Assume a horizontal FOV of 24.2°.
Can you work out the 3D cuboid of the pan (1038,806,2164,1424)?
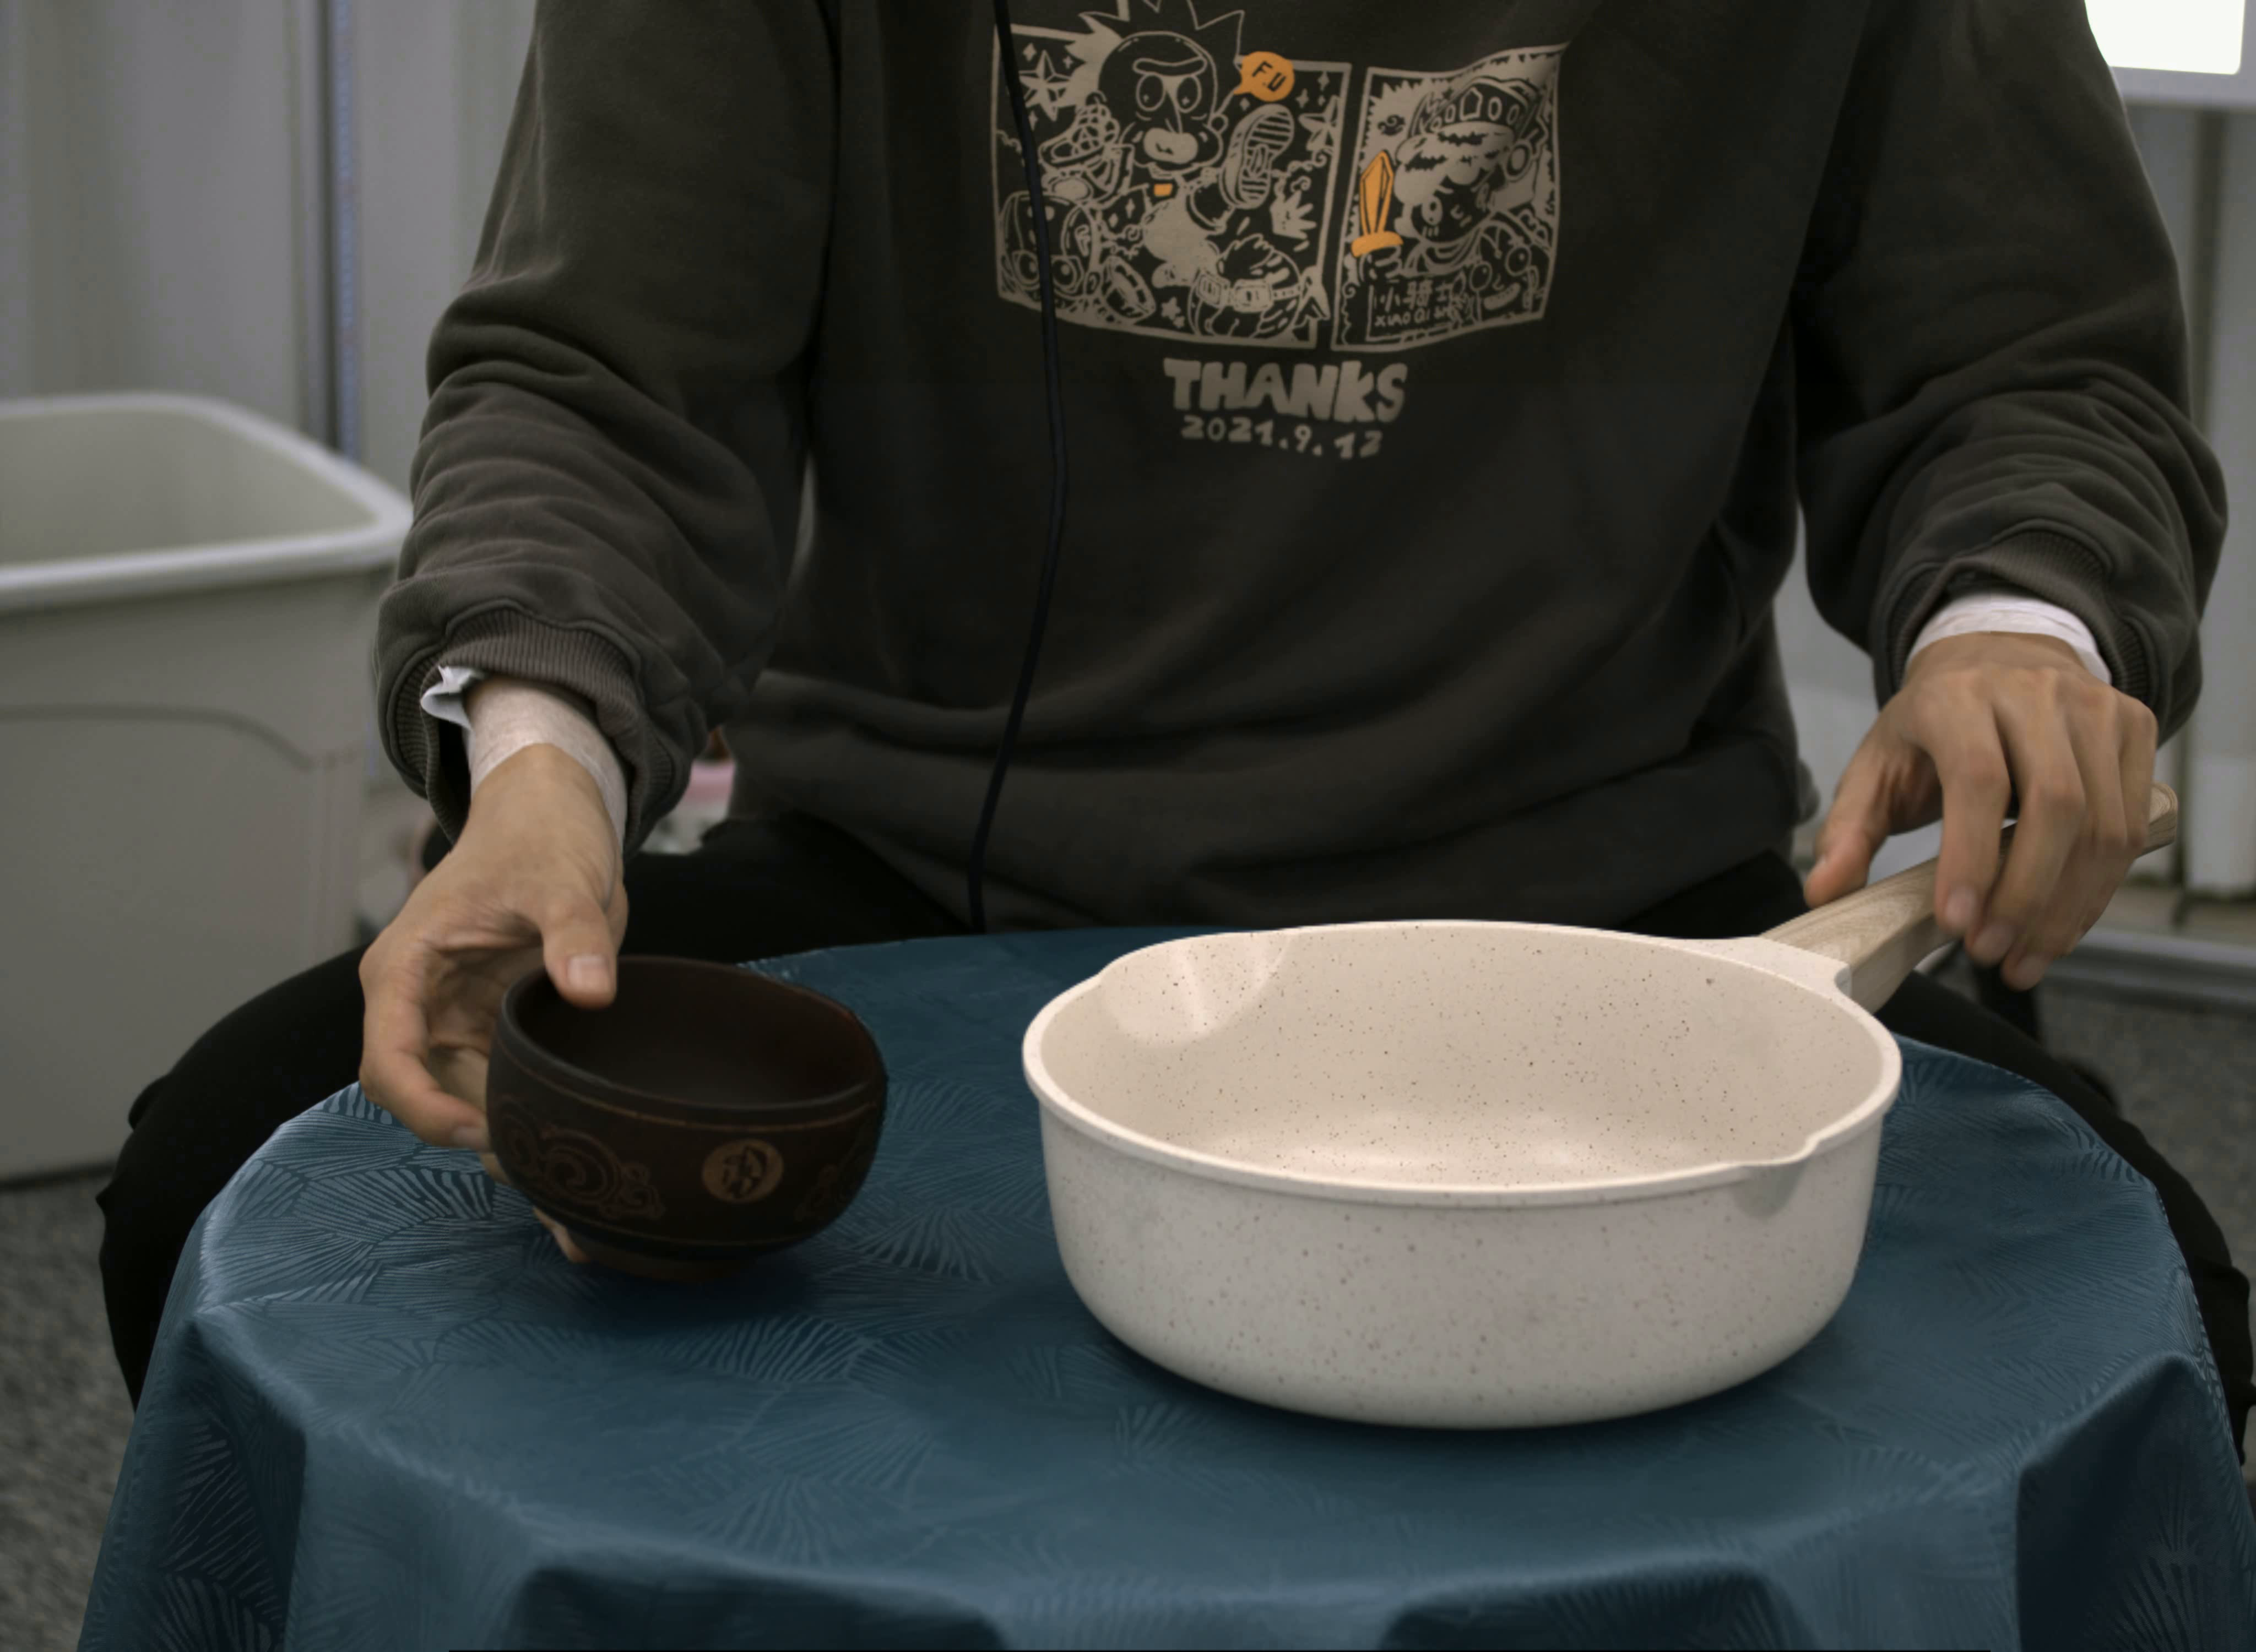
[{"bbox_3d":[0.168,0.079,1.573,0.437,0.103,0.260,-12,18,-40],"label":"pan"}]

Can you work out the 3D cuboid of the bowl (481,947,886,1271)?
[{"bbox_3d":[-0.132,0.088,1.543,0.118,0.070,0.117,9,17,-2],"label":"bowl"}]
